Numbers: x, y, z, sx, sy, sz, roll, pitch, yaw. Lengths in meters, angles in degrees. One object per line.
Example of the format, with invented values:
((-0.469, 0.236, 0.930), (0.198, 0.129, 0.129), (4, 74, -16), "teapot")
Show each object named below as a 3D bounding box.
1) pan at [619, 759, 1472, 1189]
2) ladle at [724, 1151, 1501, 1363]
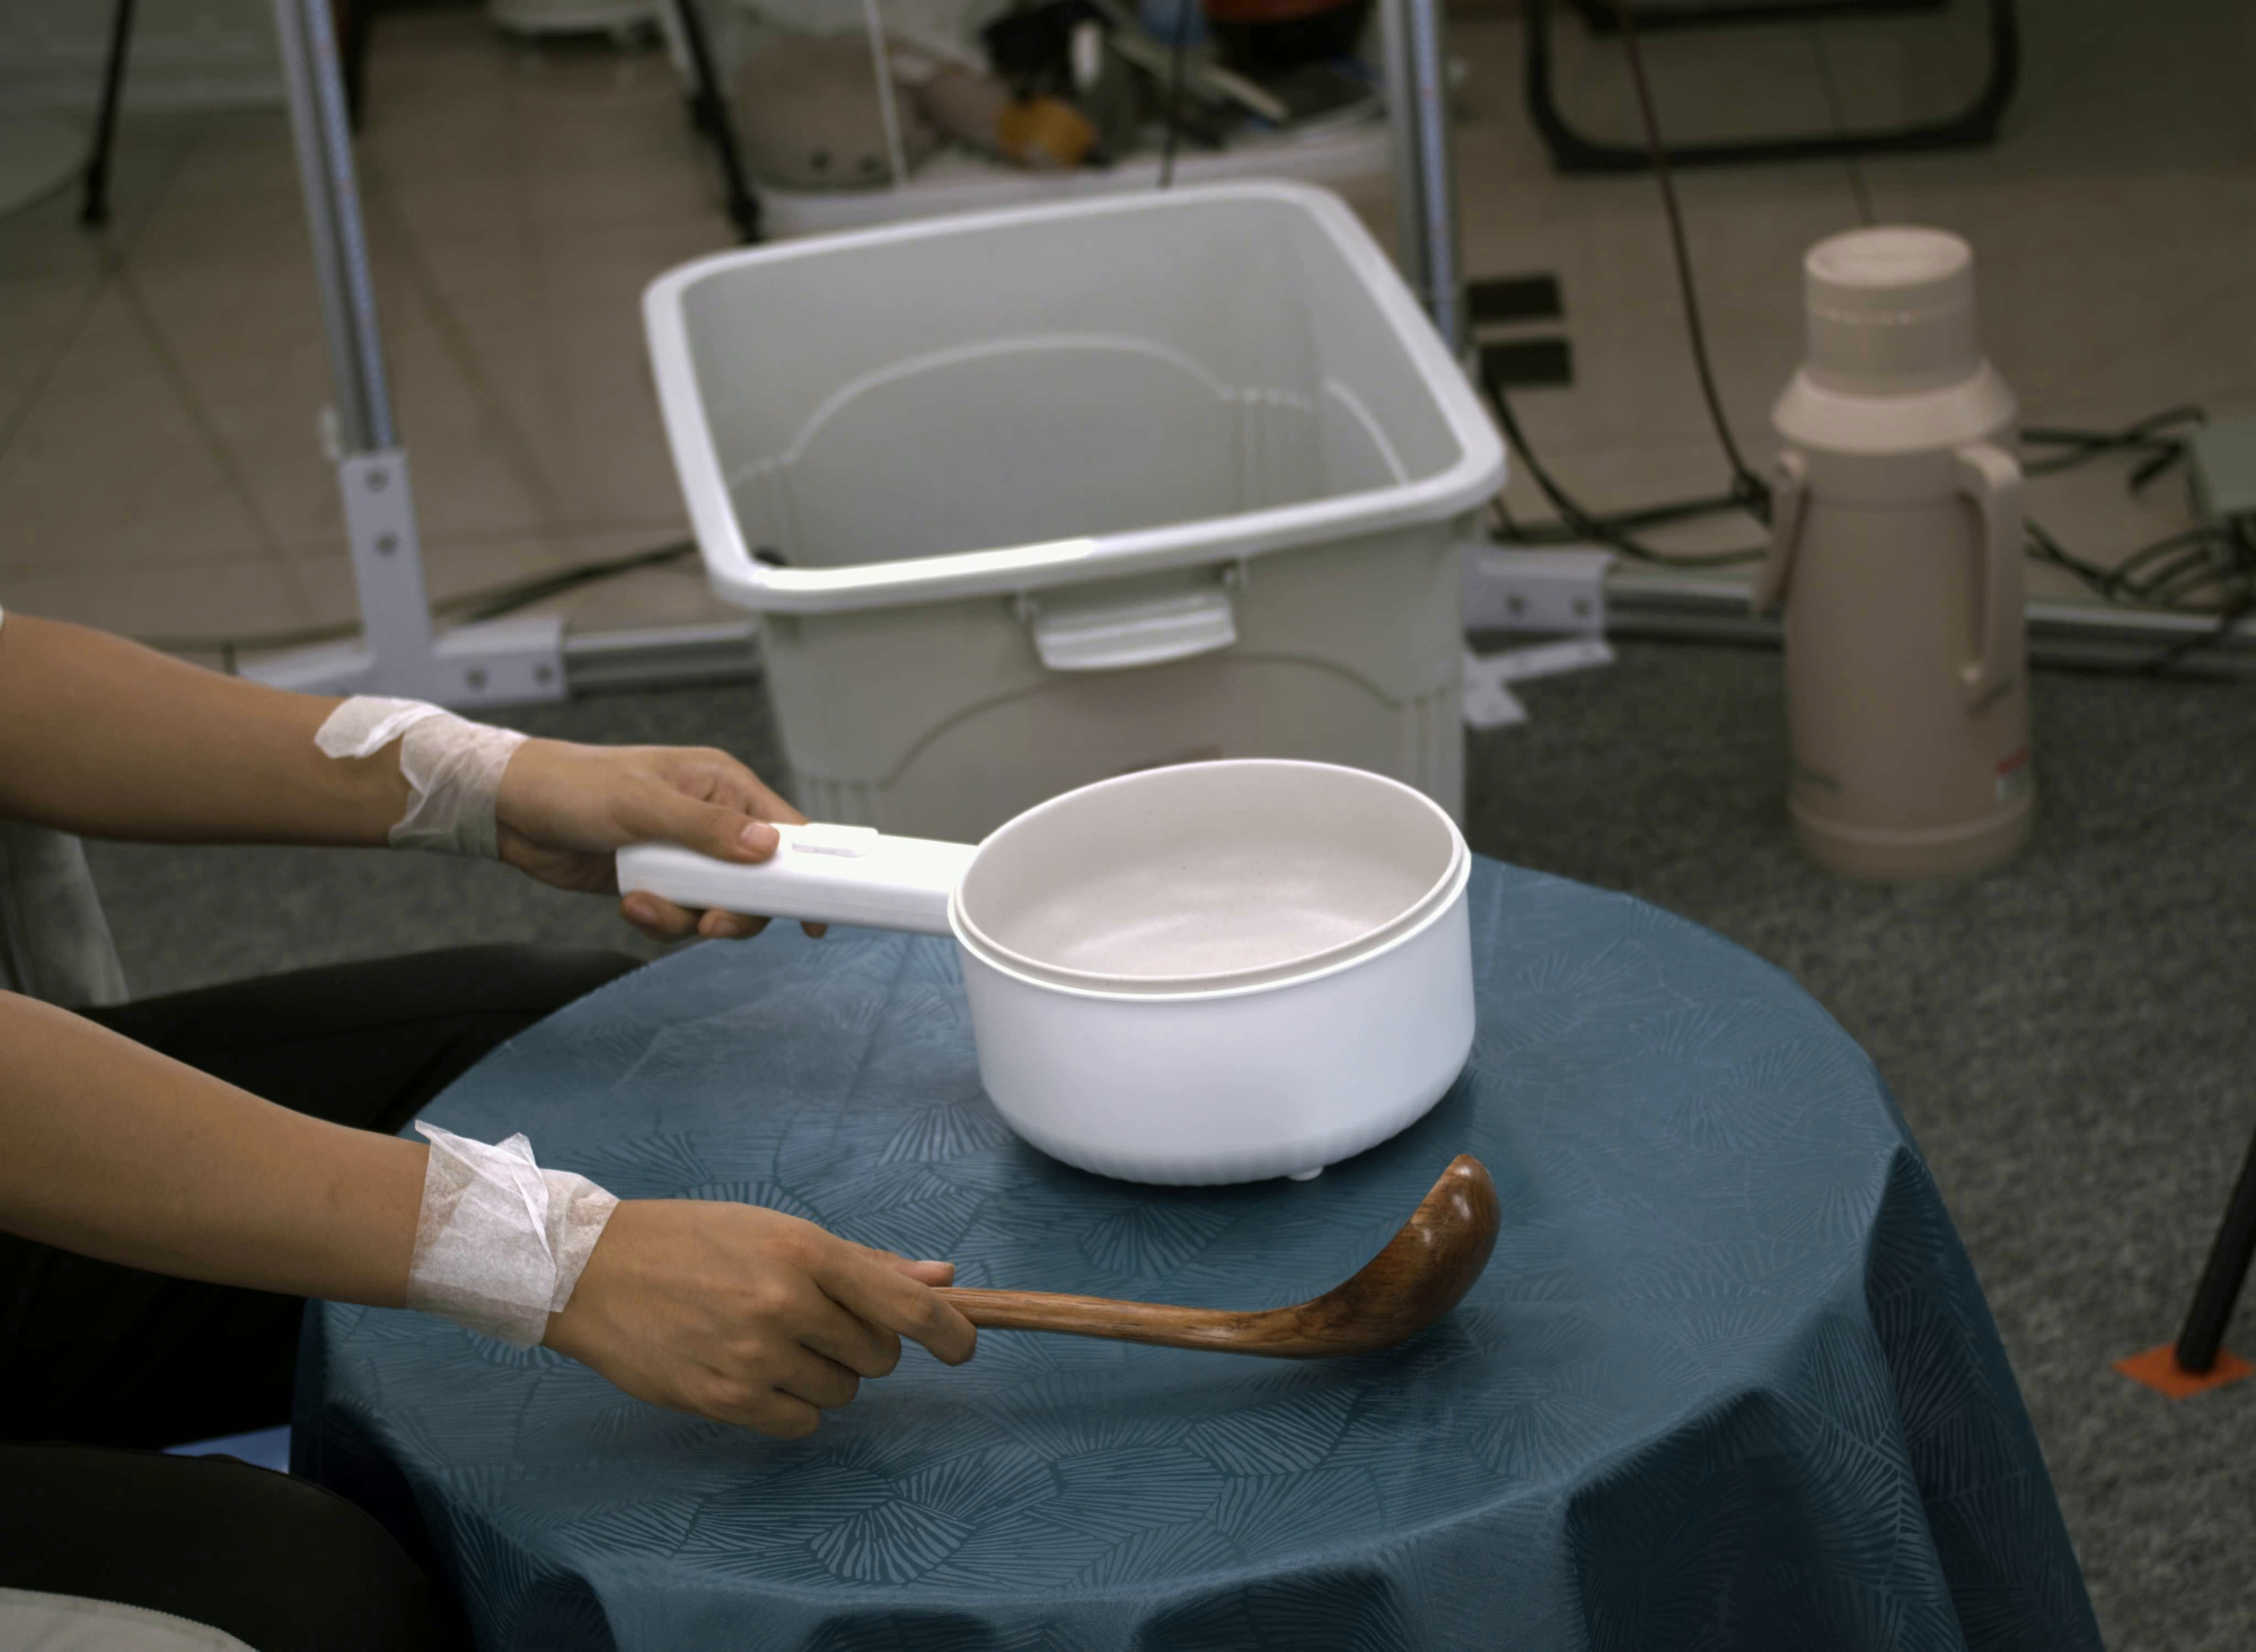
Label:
((-0.035, 0.055, 2.223), (0.353, 0.104, 0.198), (5, 29, 25), "pan")
((-0.005, 0.148, 2.013), (0.273, 0.083, 0.076), (2, 70, 5), "ladle")
